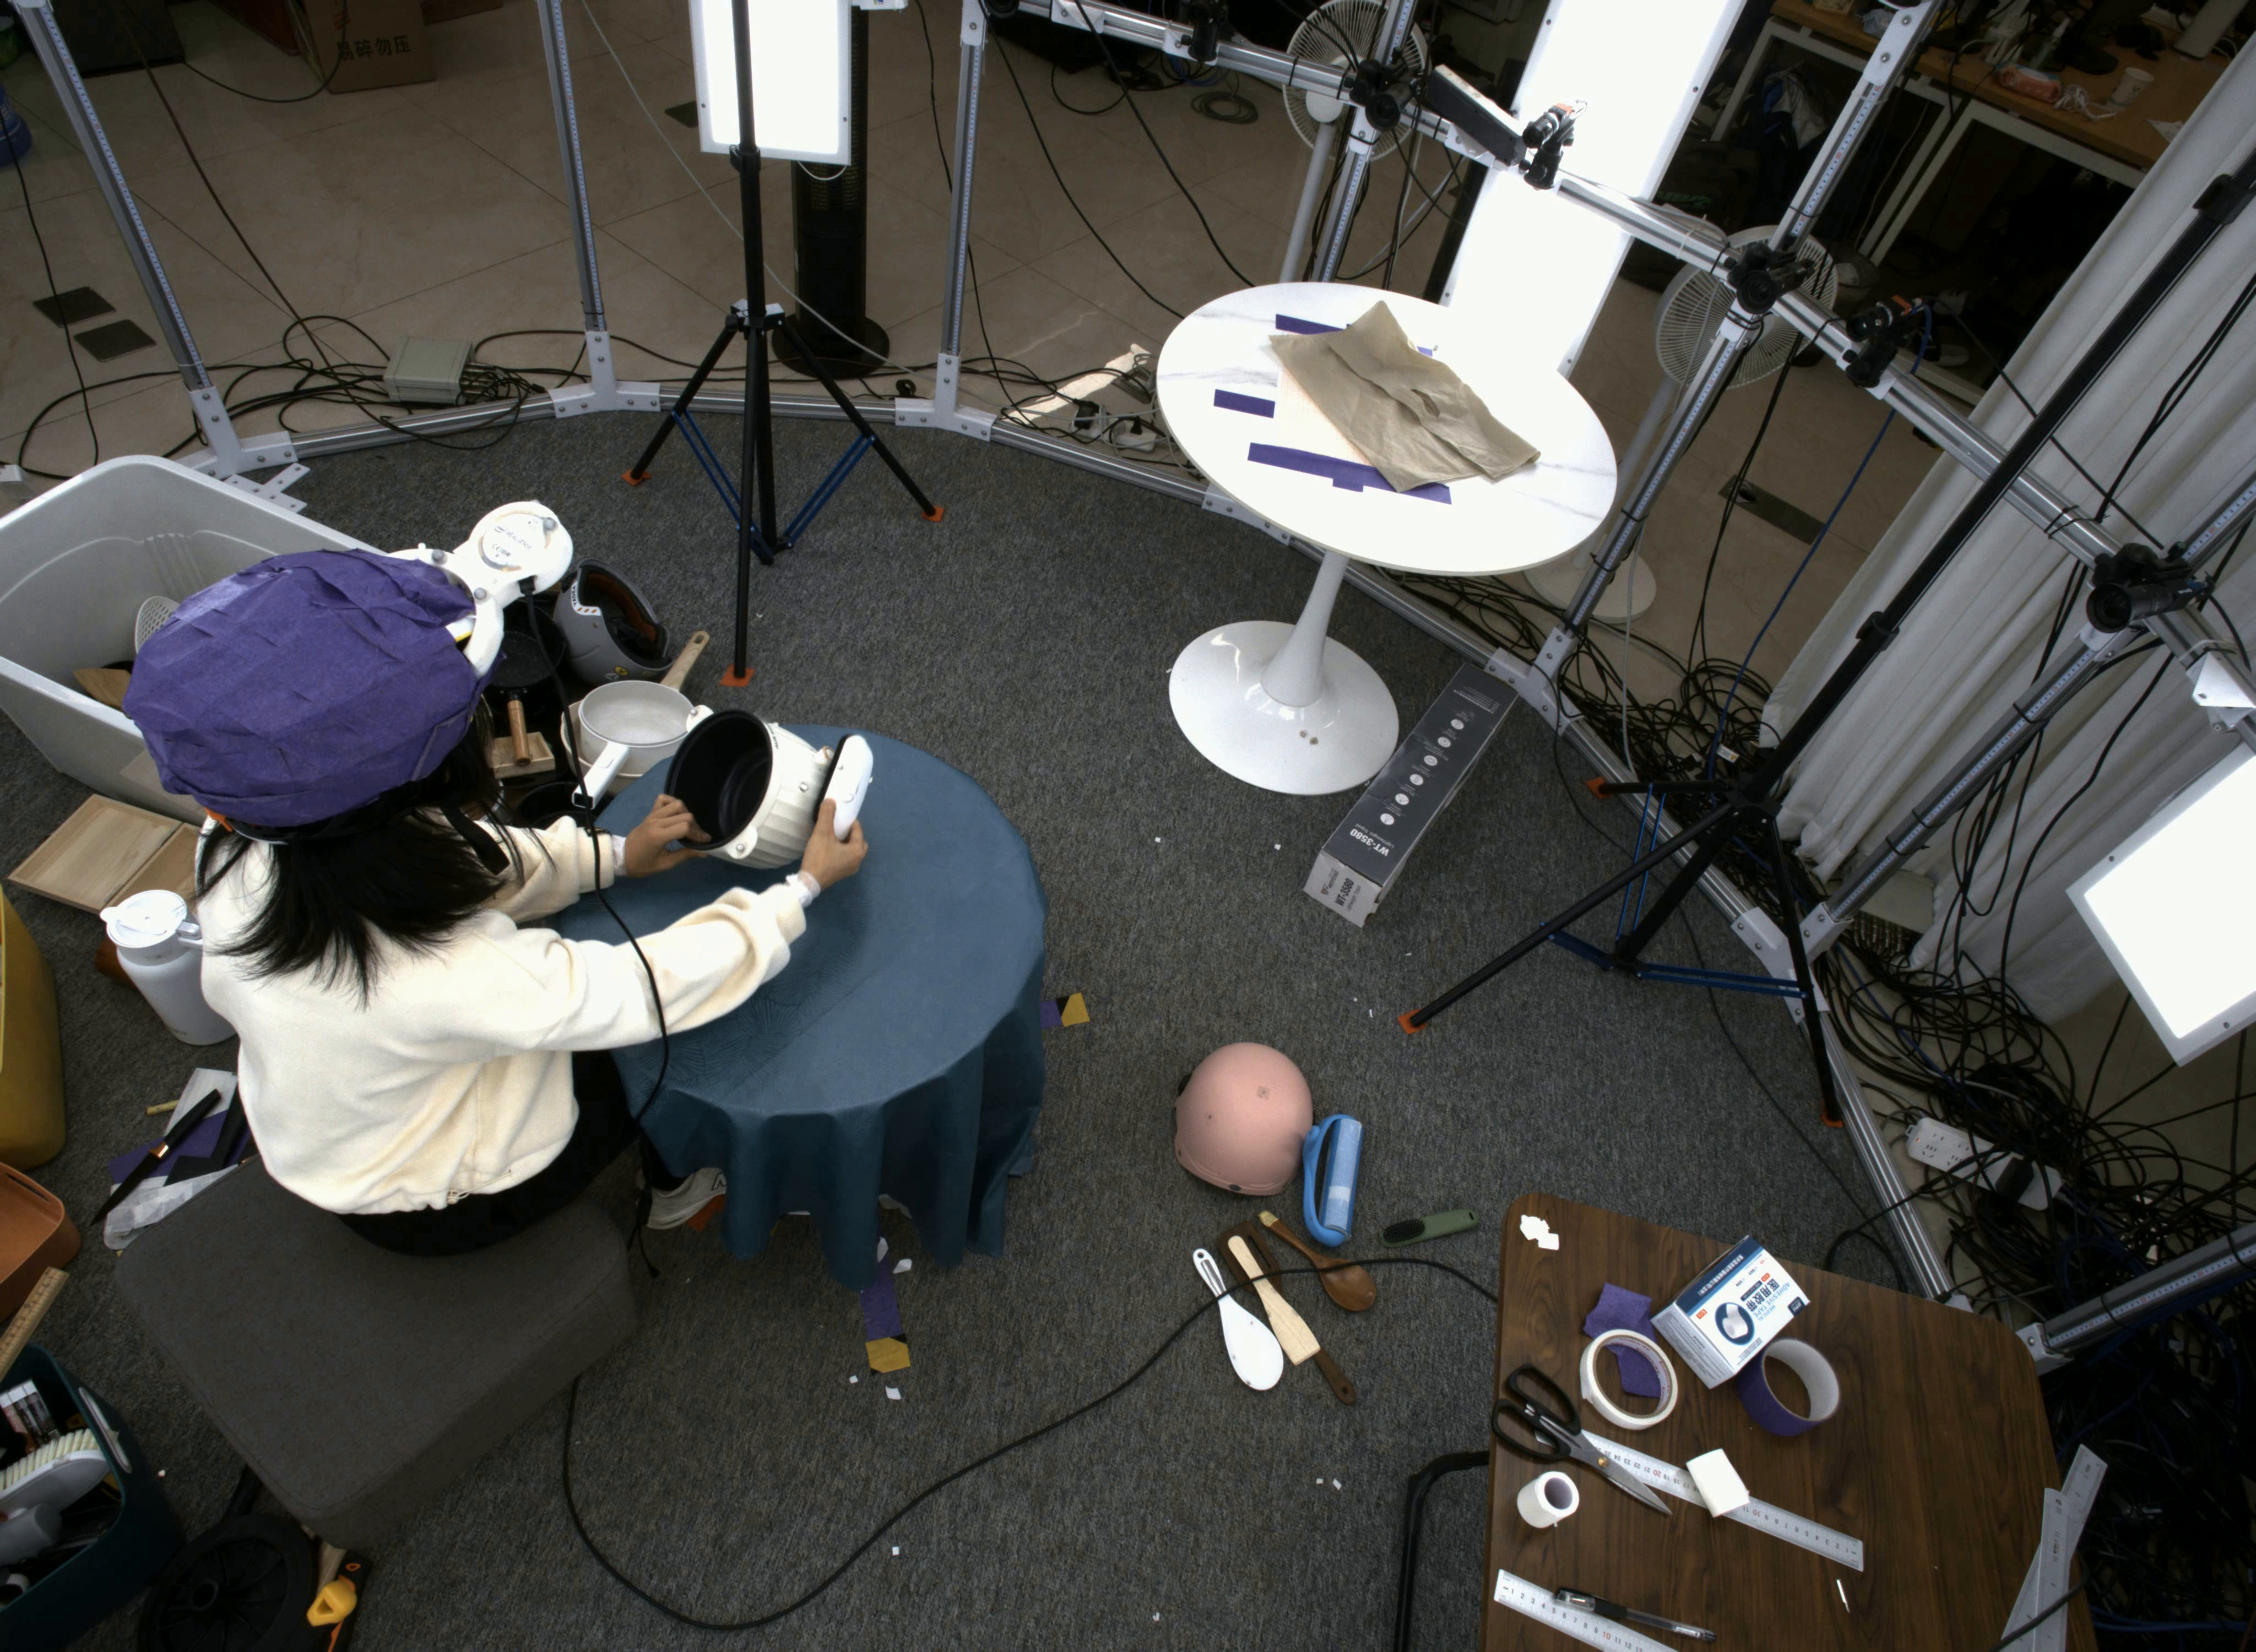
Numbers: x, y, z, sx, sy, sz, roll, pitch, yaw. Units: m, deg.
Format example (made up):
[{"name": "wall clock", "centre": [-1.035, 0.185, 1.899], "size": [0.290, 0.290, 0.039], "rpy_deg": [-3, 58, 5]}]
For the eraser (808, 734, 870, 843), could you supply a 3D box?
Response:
[{"name": "eraser", "centre": [-0.354, -0.048, 1.600], "size": [0.033, 0.065, 0.130], "rpy_deg": [5, 64, 16]}]

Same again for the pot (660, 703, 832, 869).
[{"name": "pot", "centre": [-0.462, -0.047, 1.601], "size": [0.147, 0.190, 0.234], "rpy_deg": [22, 32, -56]}]
